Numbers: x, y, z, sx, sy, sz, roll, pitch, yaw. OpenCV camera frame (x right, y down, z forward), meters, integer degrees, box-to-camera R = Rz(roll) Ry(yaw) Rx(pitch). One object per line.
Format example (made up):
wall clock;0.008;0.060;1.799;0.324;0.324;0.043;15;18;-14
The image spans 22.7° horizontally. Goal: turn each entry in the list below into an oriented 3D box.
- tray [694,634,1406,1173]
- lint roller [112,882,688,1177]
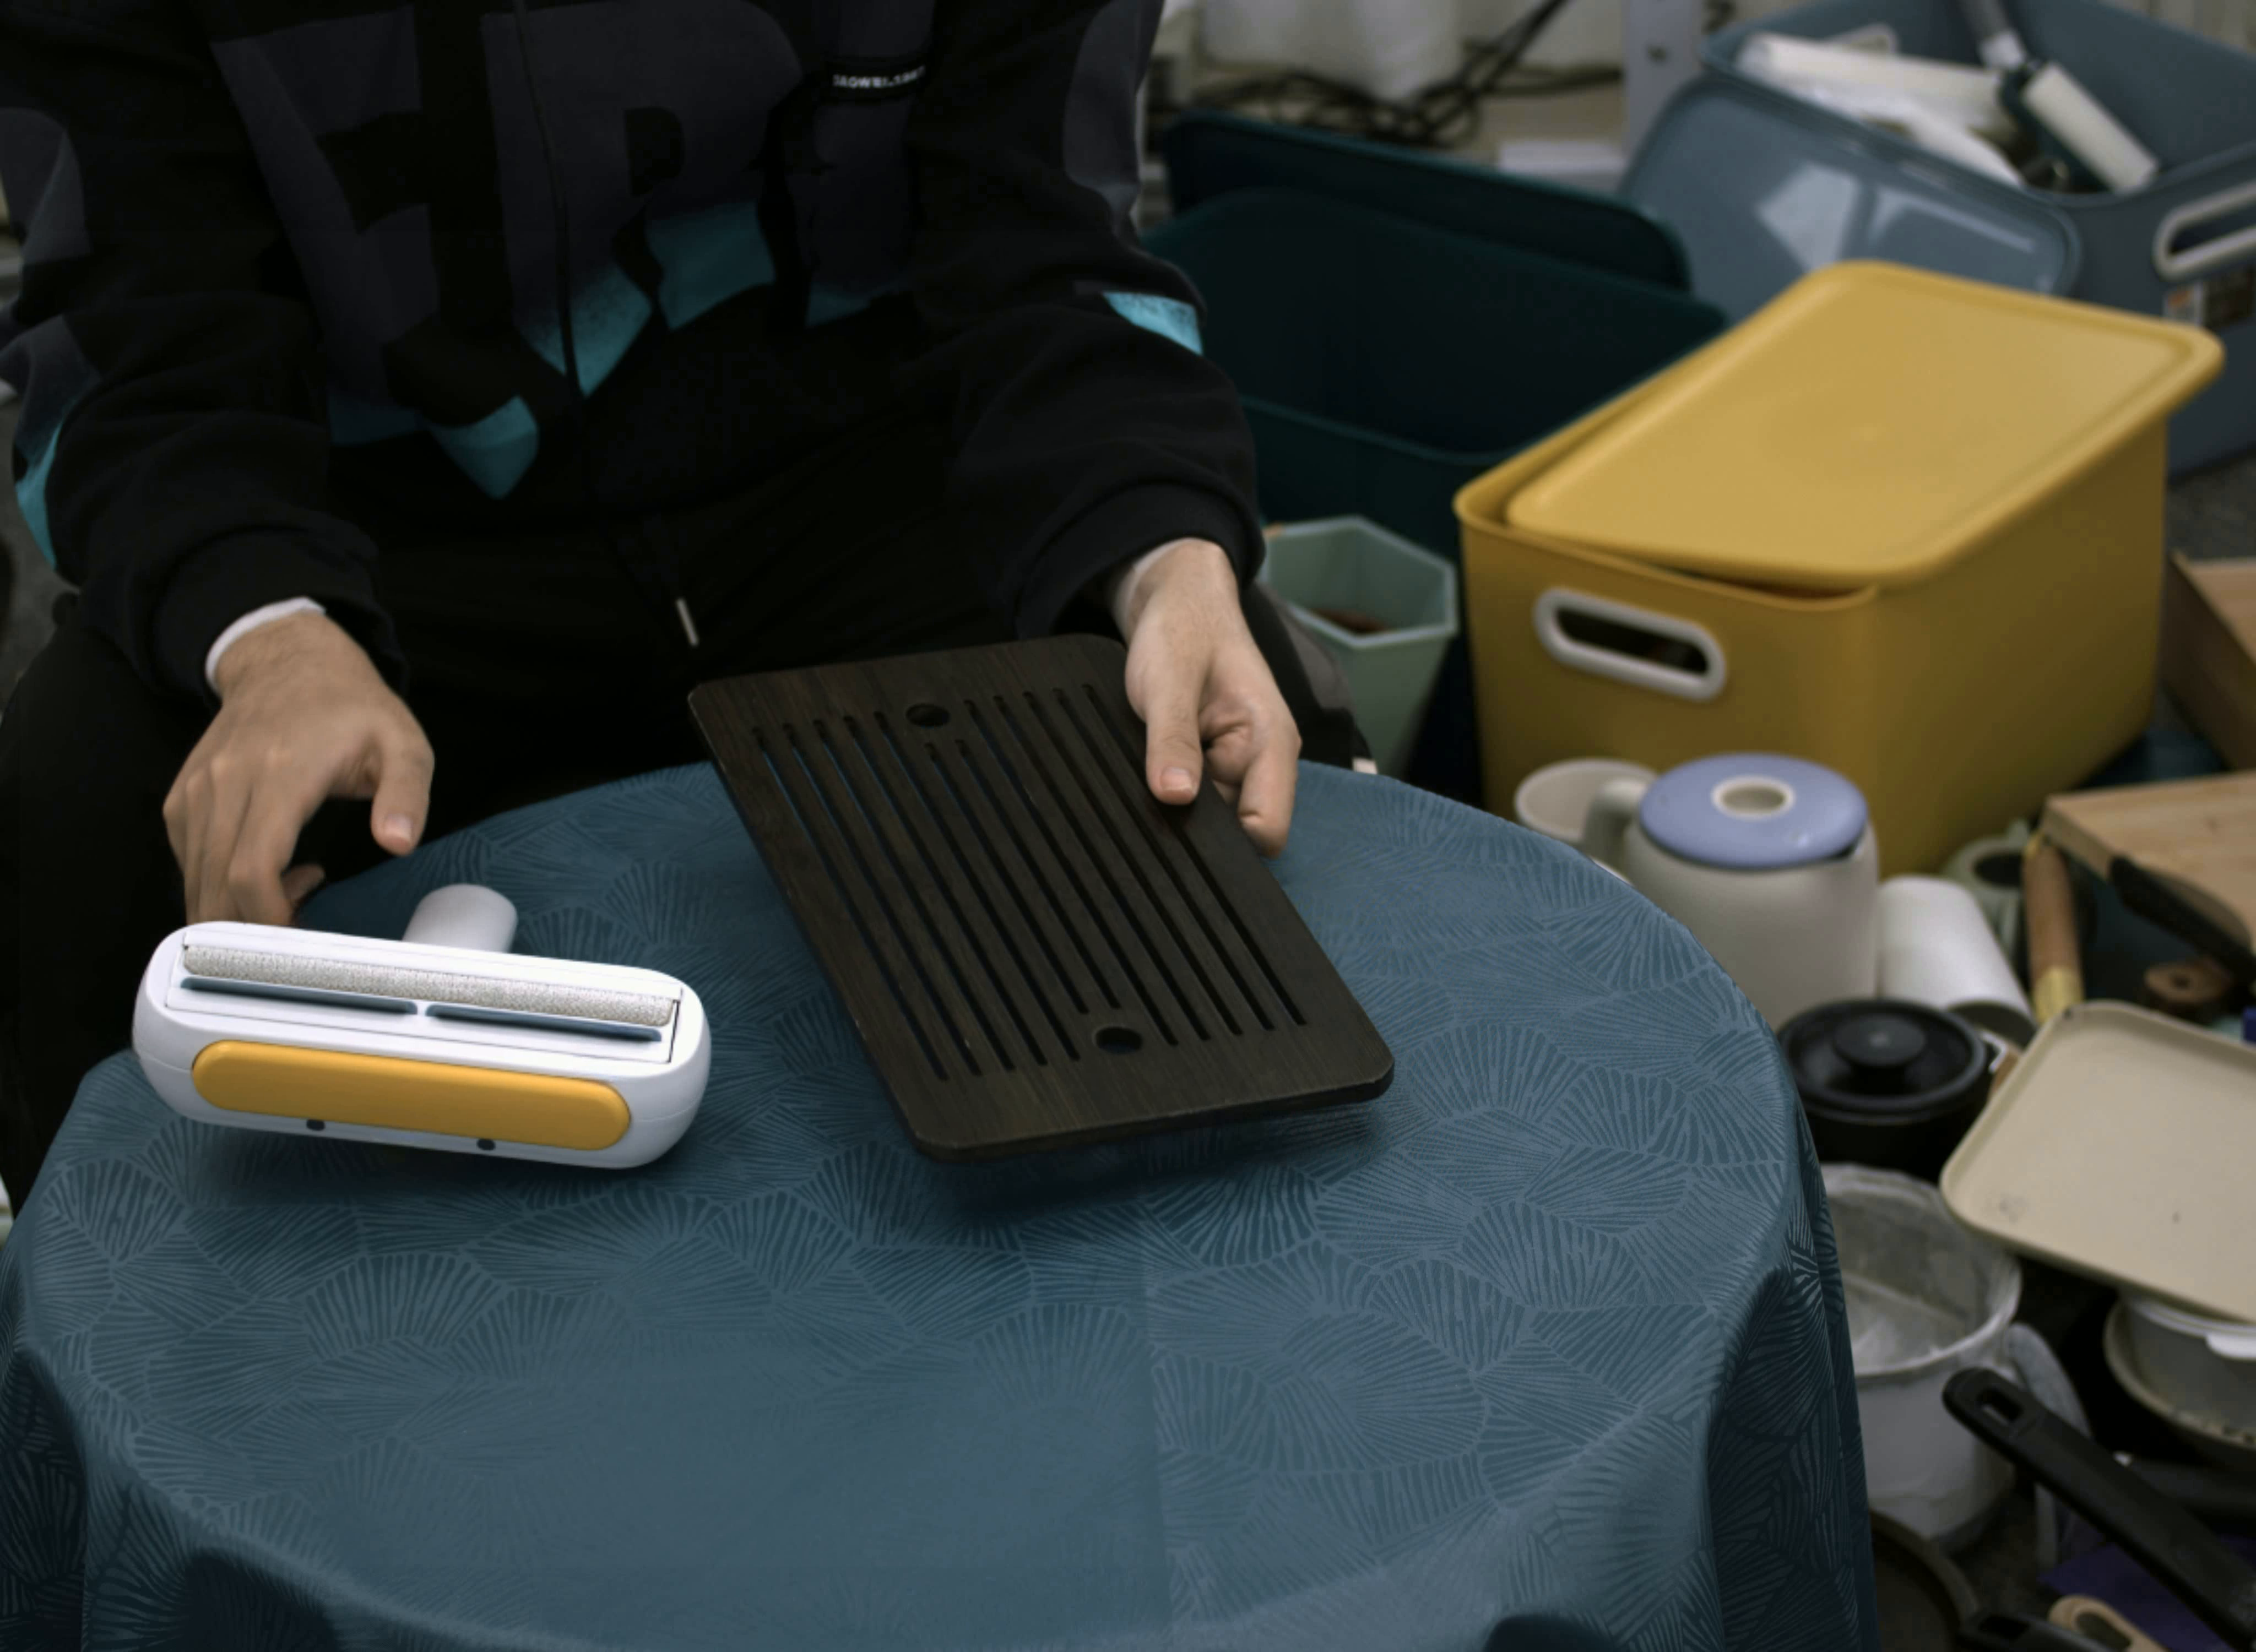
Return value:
tray;-0.033;0.024;1.971;0.170;0.018;0.309;-8;34;-18
lint roller;-0.240;0.054;1.941;0.192;0.073;0.195;4;26;3
